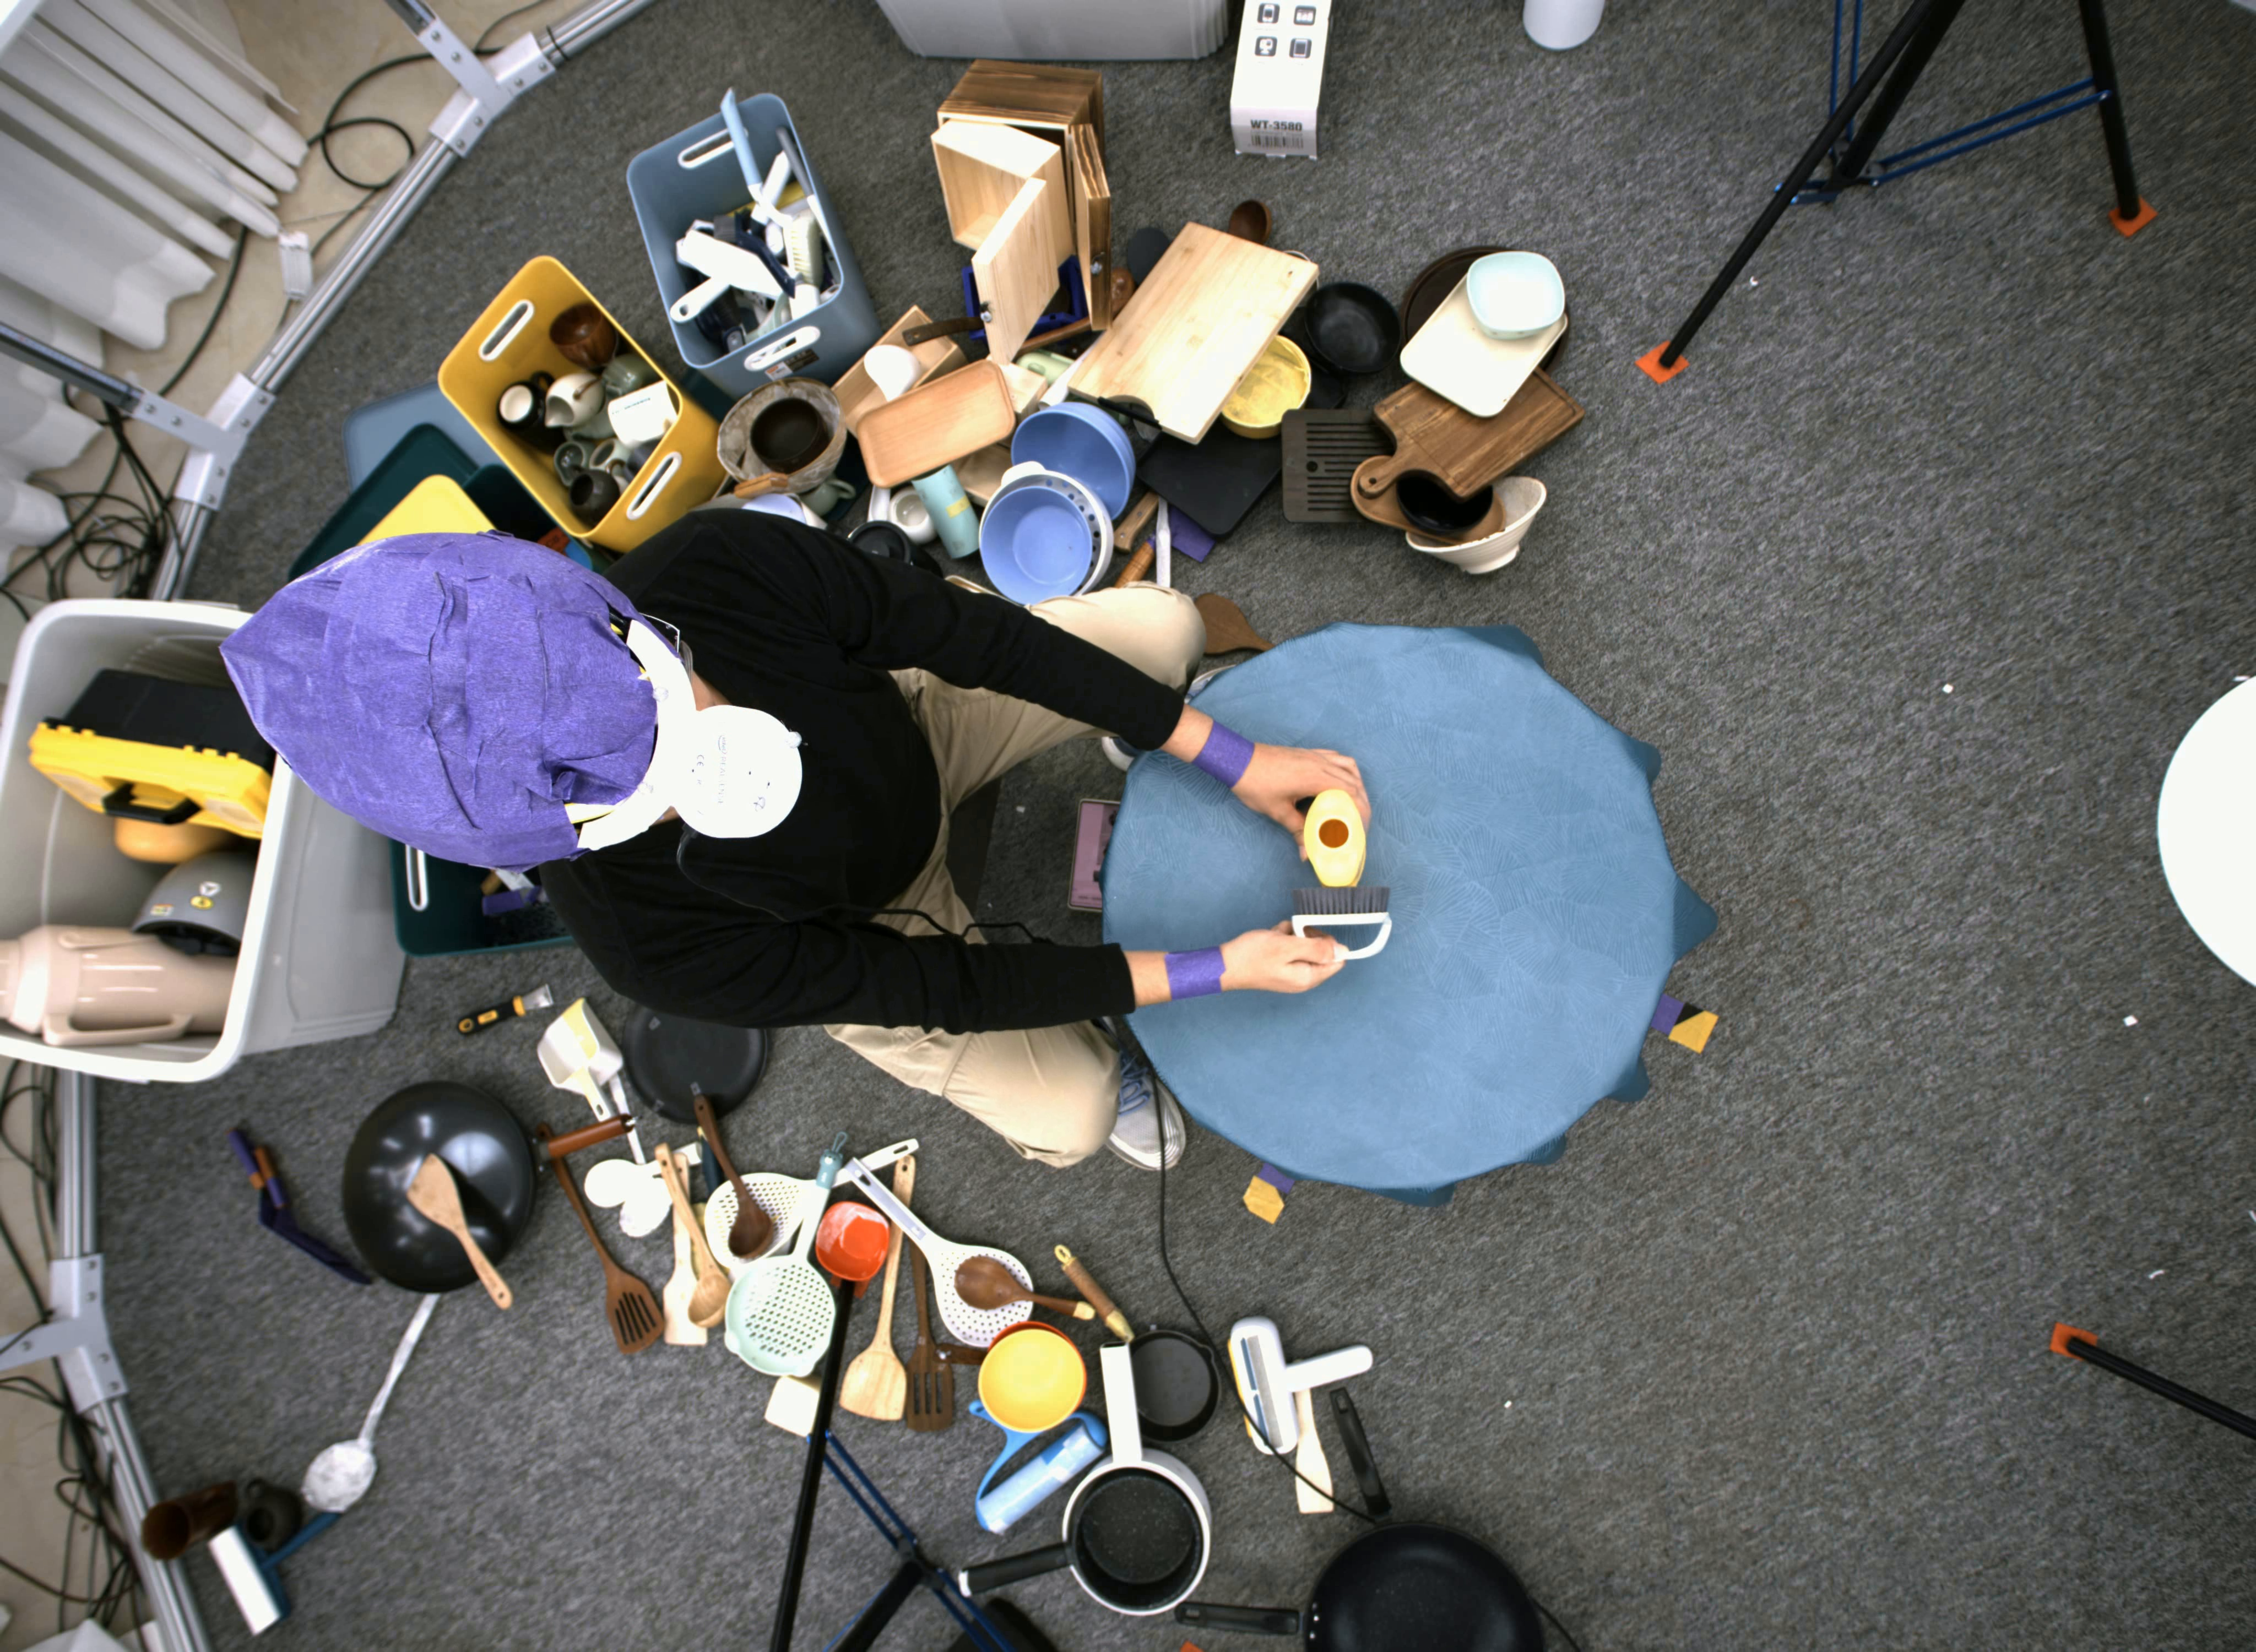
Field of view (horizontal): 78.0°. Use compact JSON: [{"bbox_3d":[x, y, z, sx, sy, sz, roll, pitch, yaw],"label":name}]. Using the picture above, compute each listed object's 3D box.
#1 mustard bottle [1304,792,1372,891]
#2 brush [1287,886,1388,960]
[{"bbox_3d":[0.212,0.017,1.388,0.059,0.172,0.098,-7,84,13],"label":"mustard bottle"},{"bbox_3d":[0.210,0.097,1.378,0.099,0.050,0.072,-2,88,-1],"label":"brush"}]
